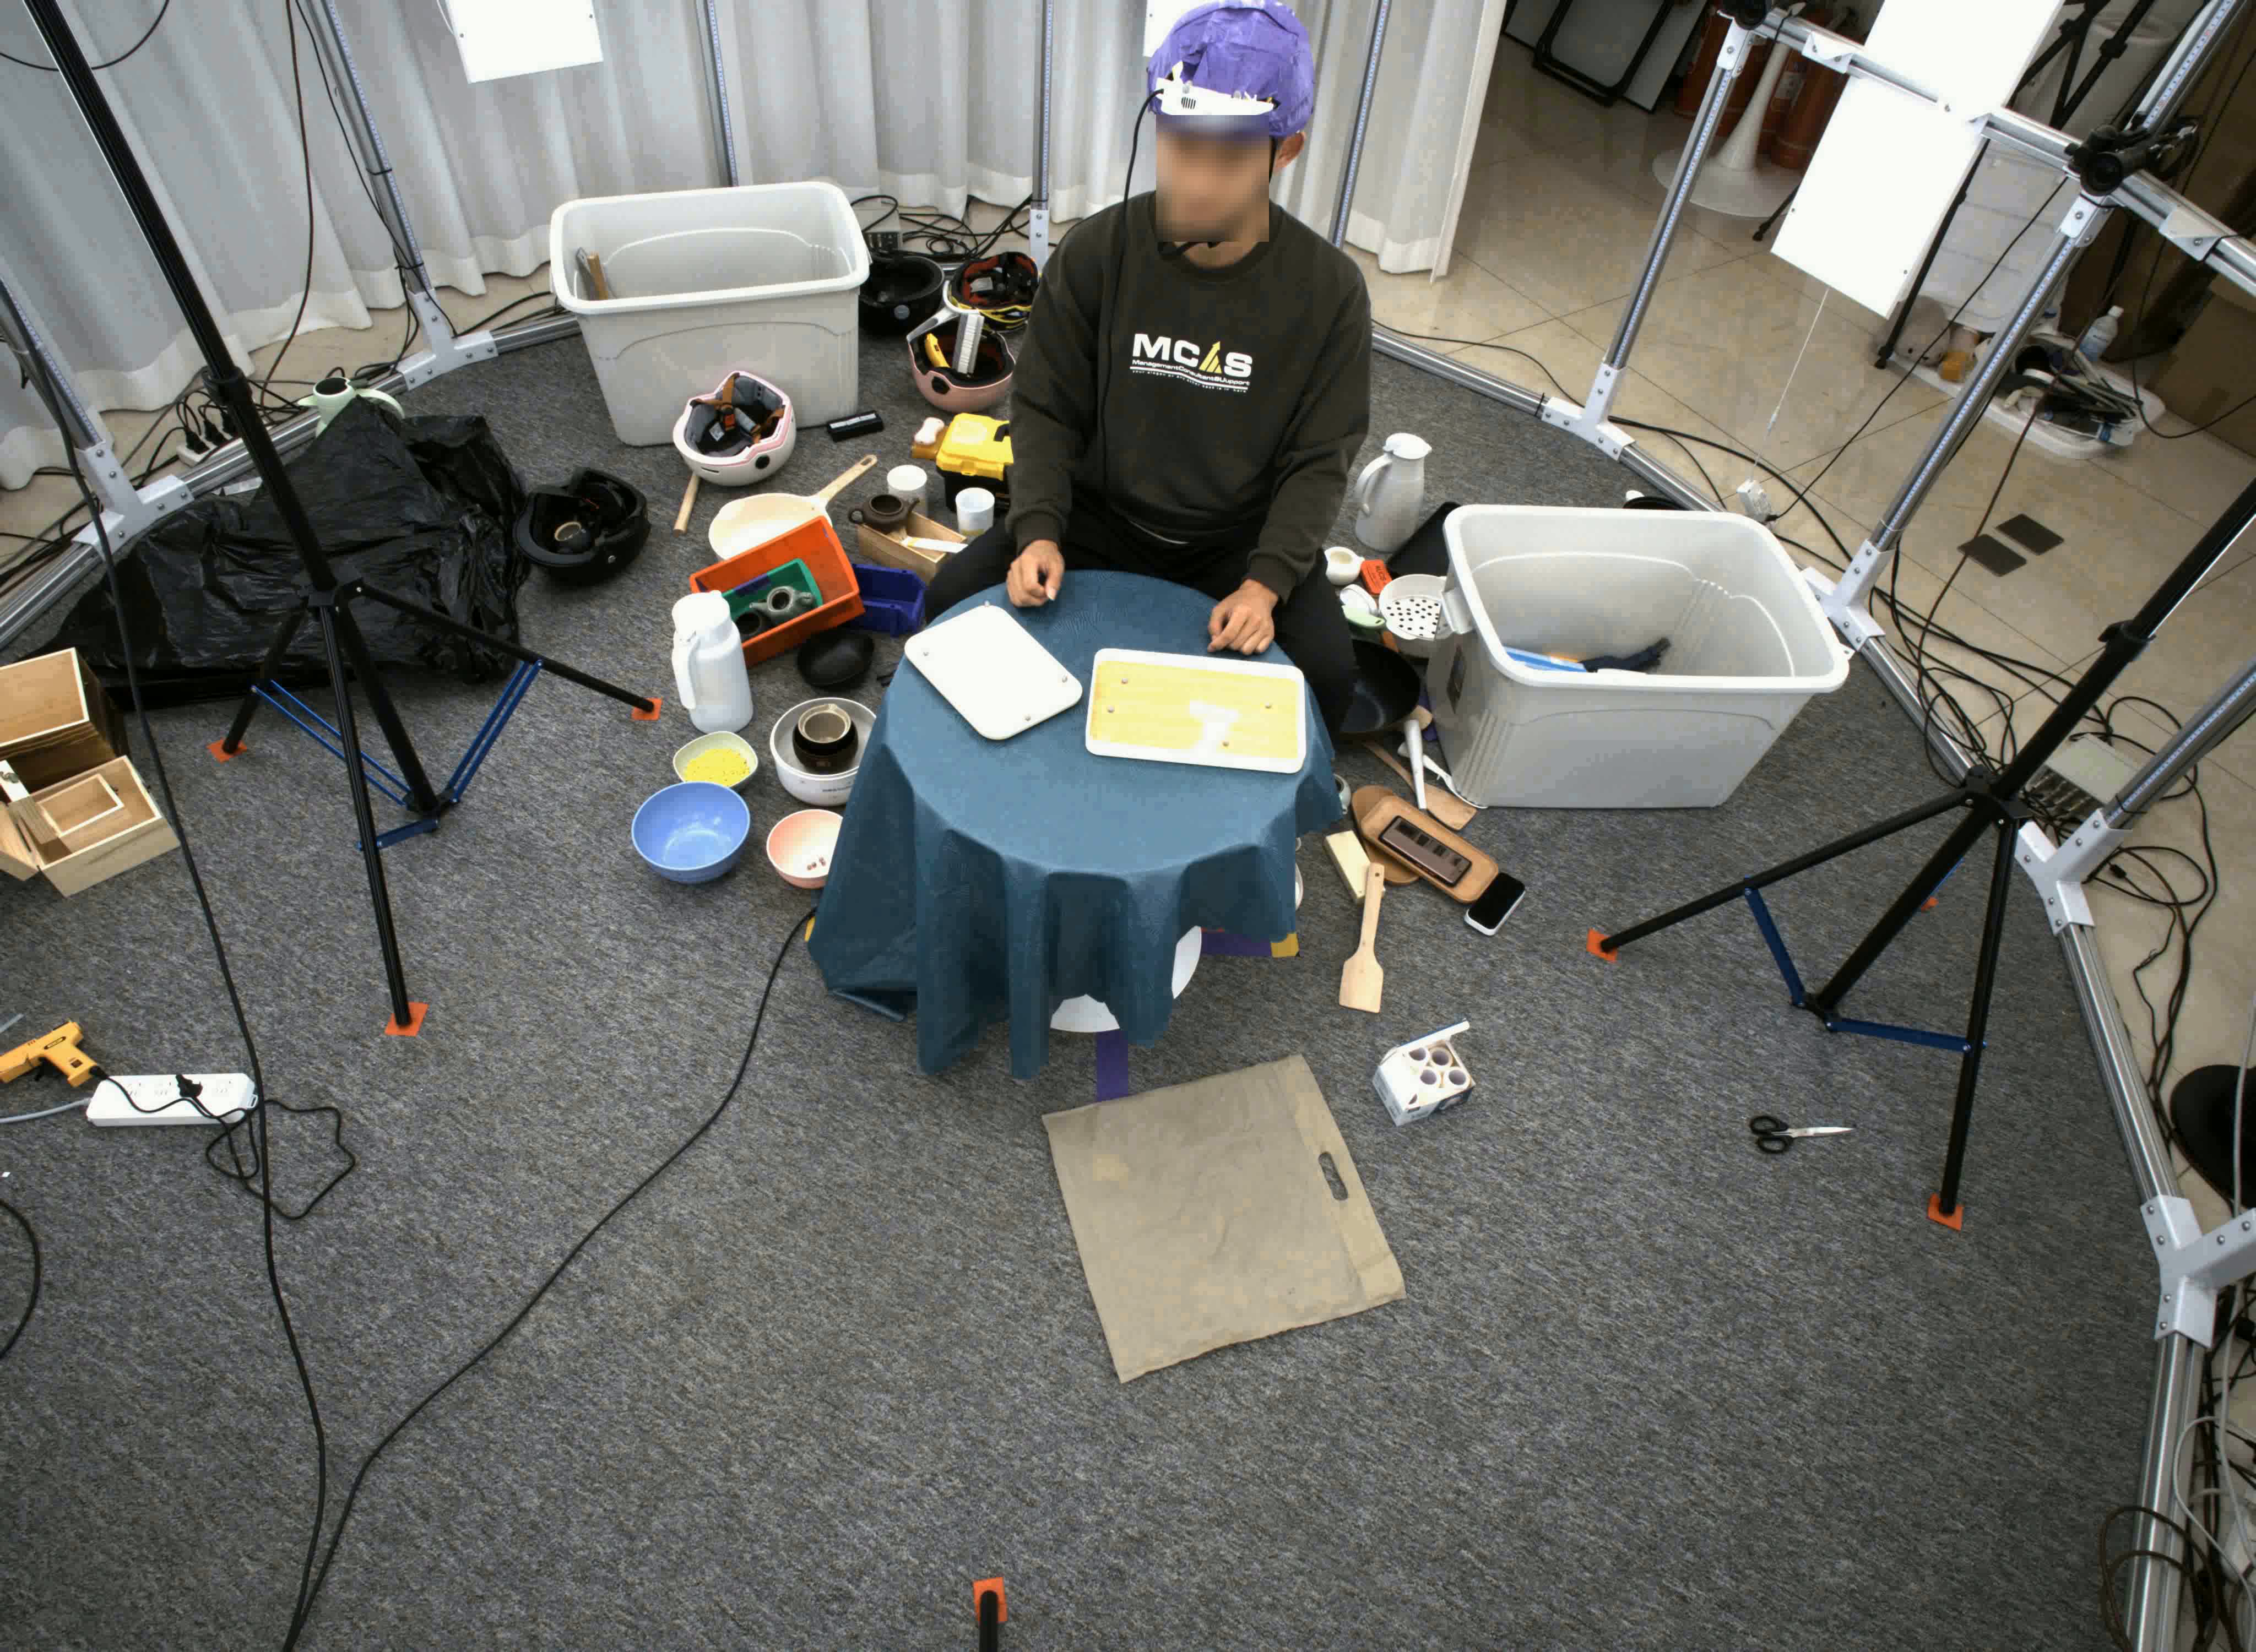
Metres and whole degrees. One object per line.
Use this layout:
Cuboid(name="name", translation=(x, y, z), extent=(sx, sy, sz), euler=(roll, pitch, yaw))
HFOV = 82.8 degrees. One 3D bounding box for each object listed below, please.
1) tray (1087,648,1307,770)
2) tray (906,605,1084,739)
Cuboid(name="tray", translation=(0.098, -0.166, 1.799), extent=(0.300, 0.027, 0.196), euler=(5, 49, 0))
Cuboid(name="tray", translation=(-0.190, -0.221, 1.831), extent=(0.172, 0.017, 0.244), euler=(-29, 57, -26))
